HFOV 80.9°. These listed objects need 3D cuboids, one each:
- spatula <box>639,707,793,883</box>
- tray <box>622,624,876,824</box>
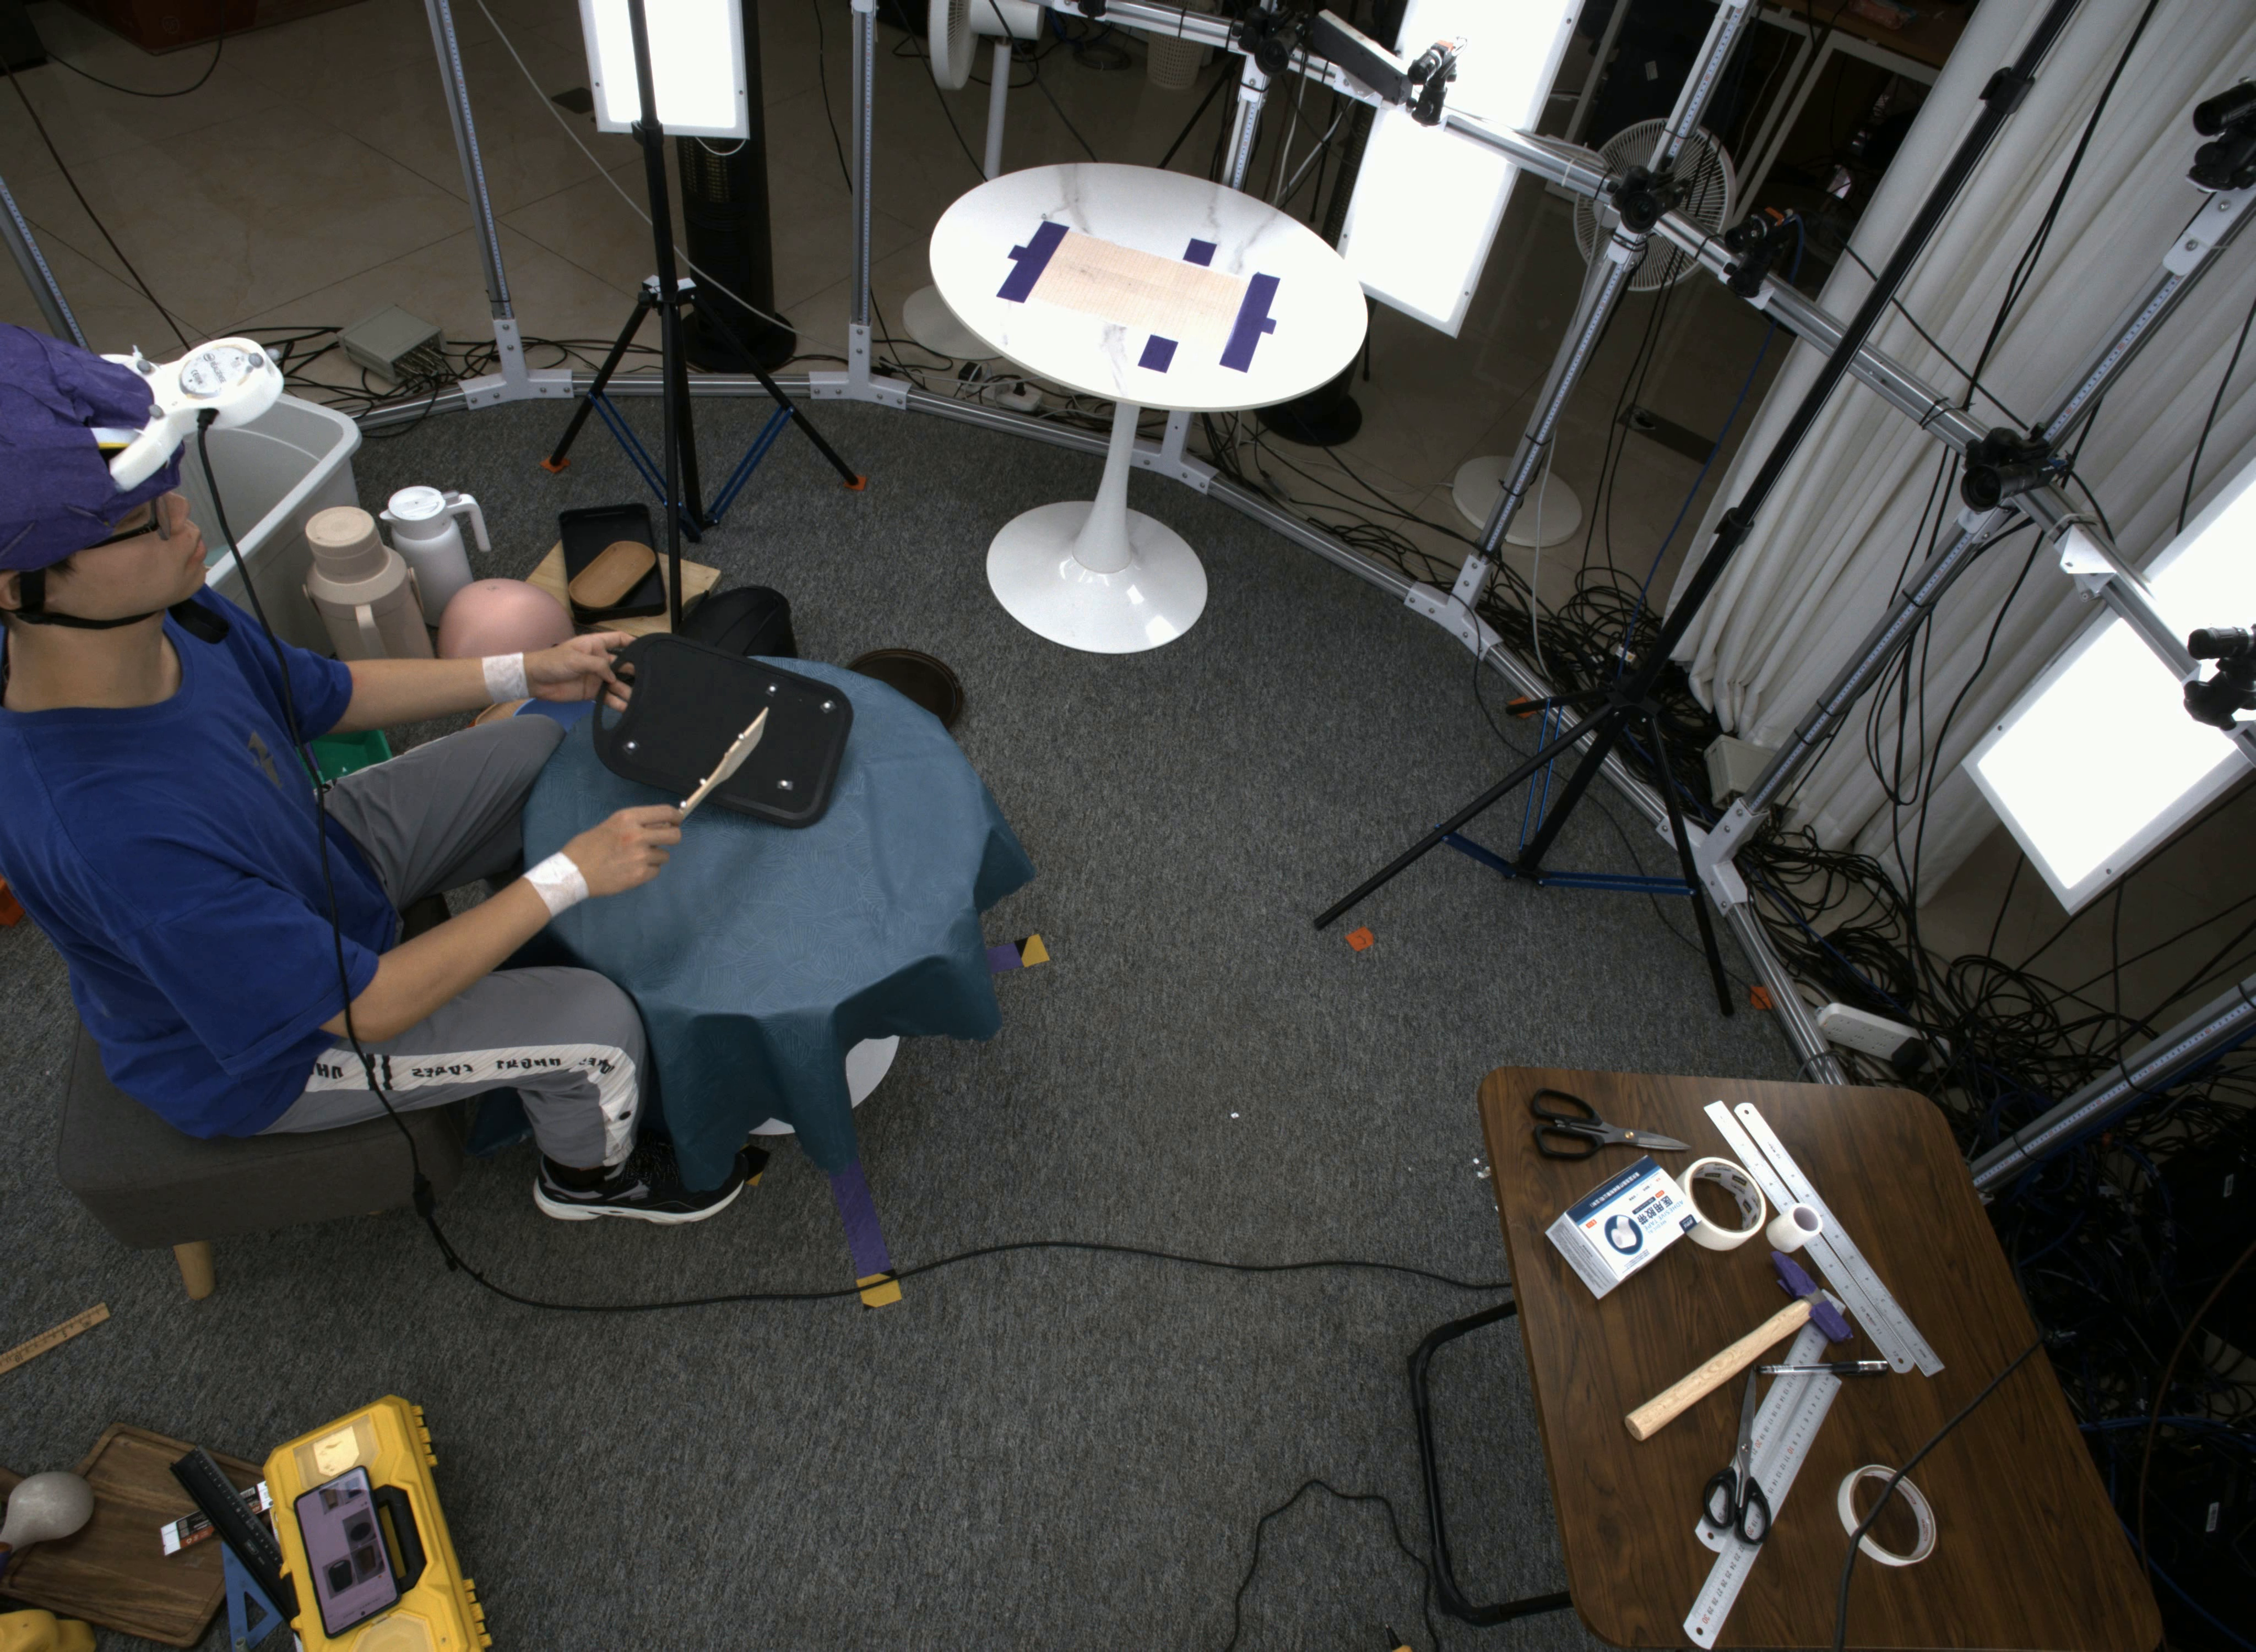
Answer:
[{"bbox_3d":[-0.499,-0.037,1.572,0.010,0.072,0.292,36,55,-2],"label":"spatula"},{"bbox_3d":[-0.512,-0.140,1.725,0.328,0.010,0.211,20,72,-16],"label":"tray"}]
